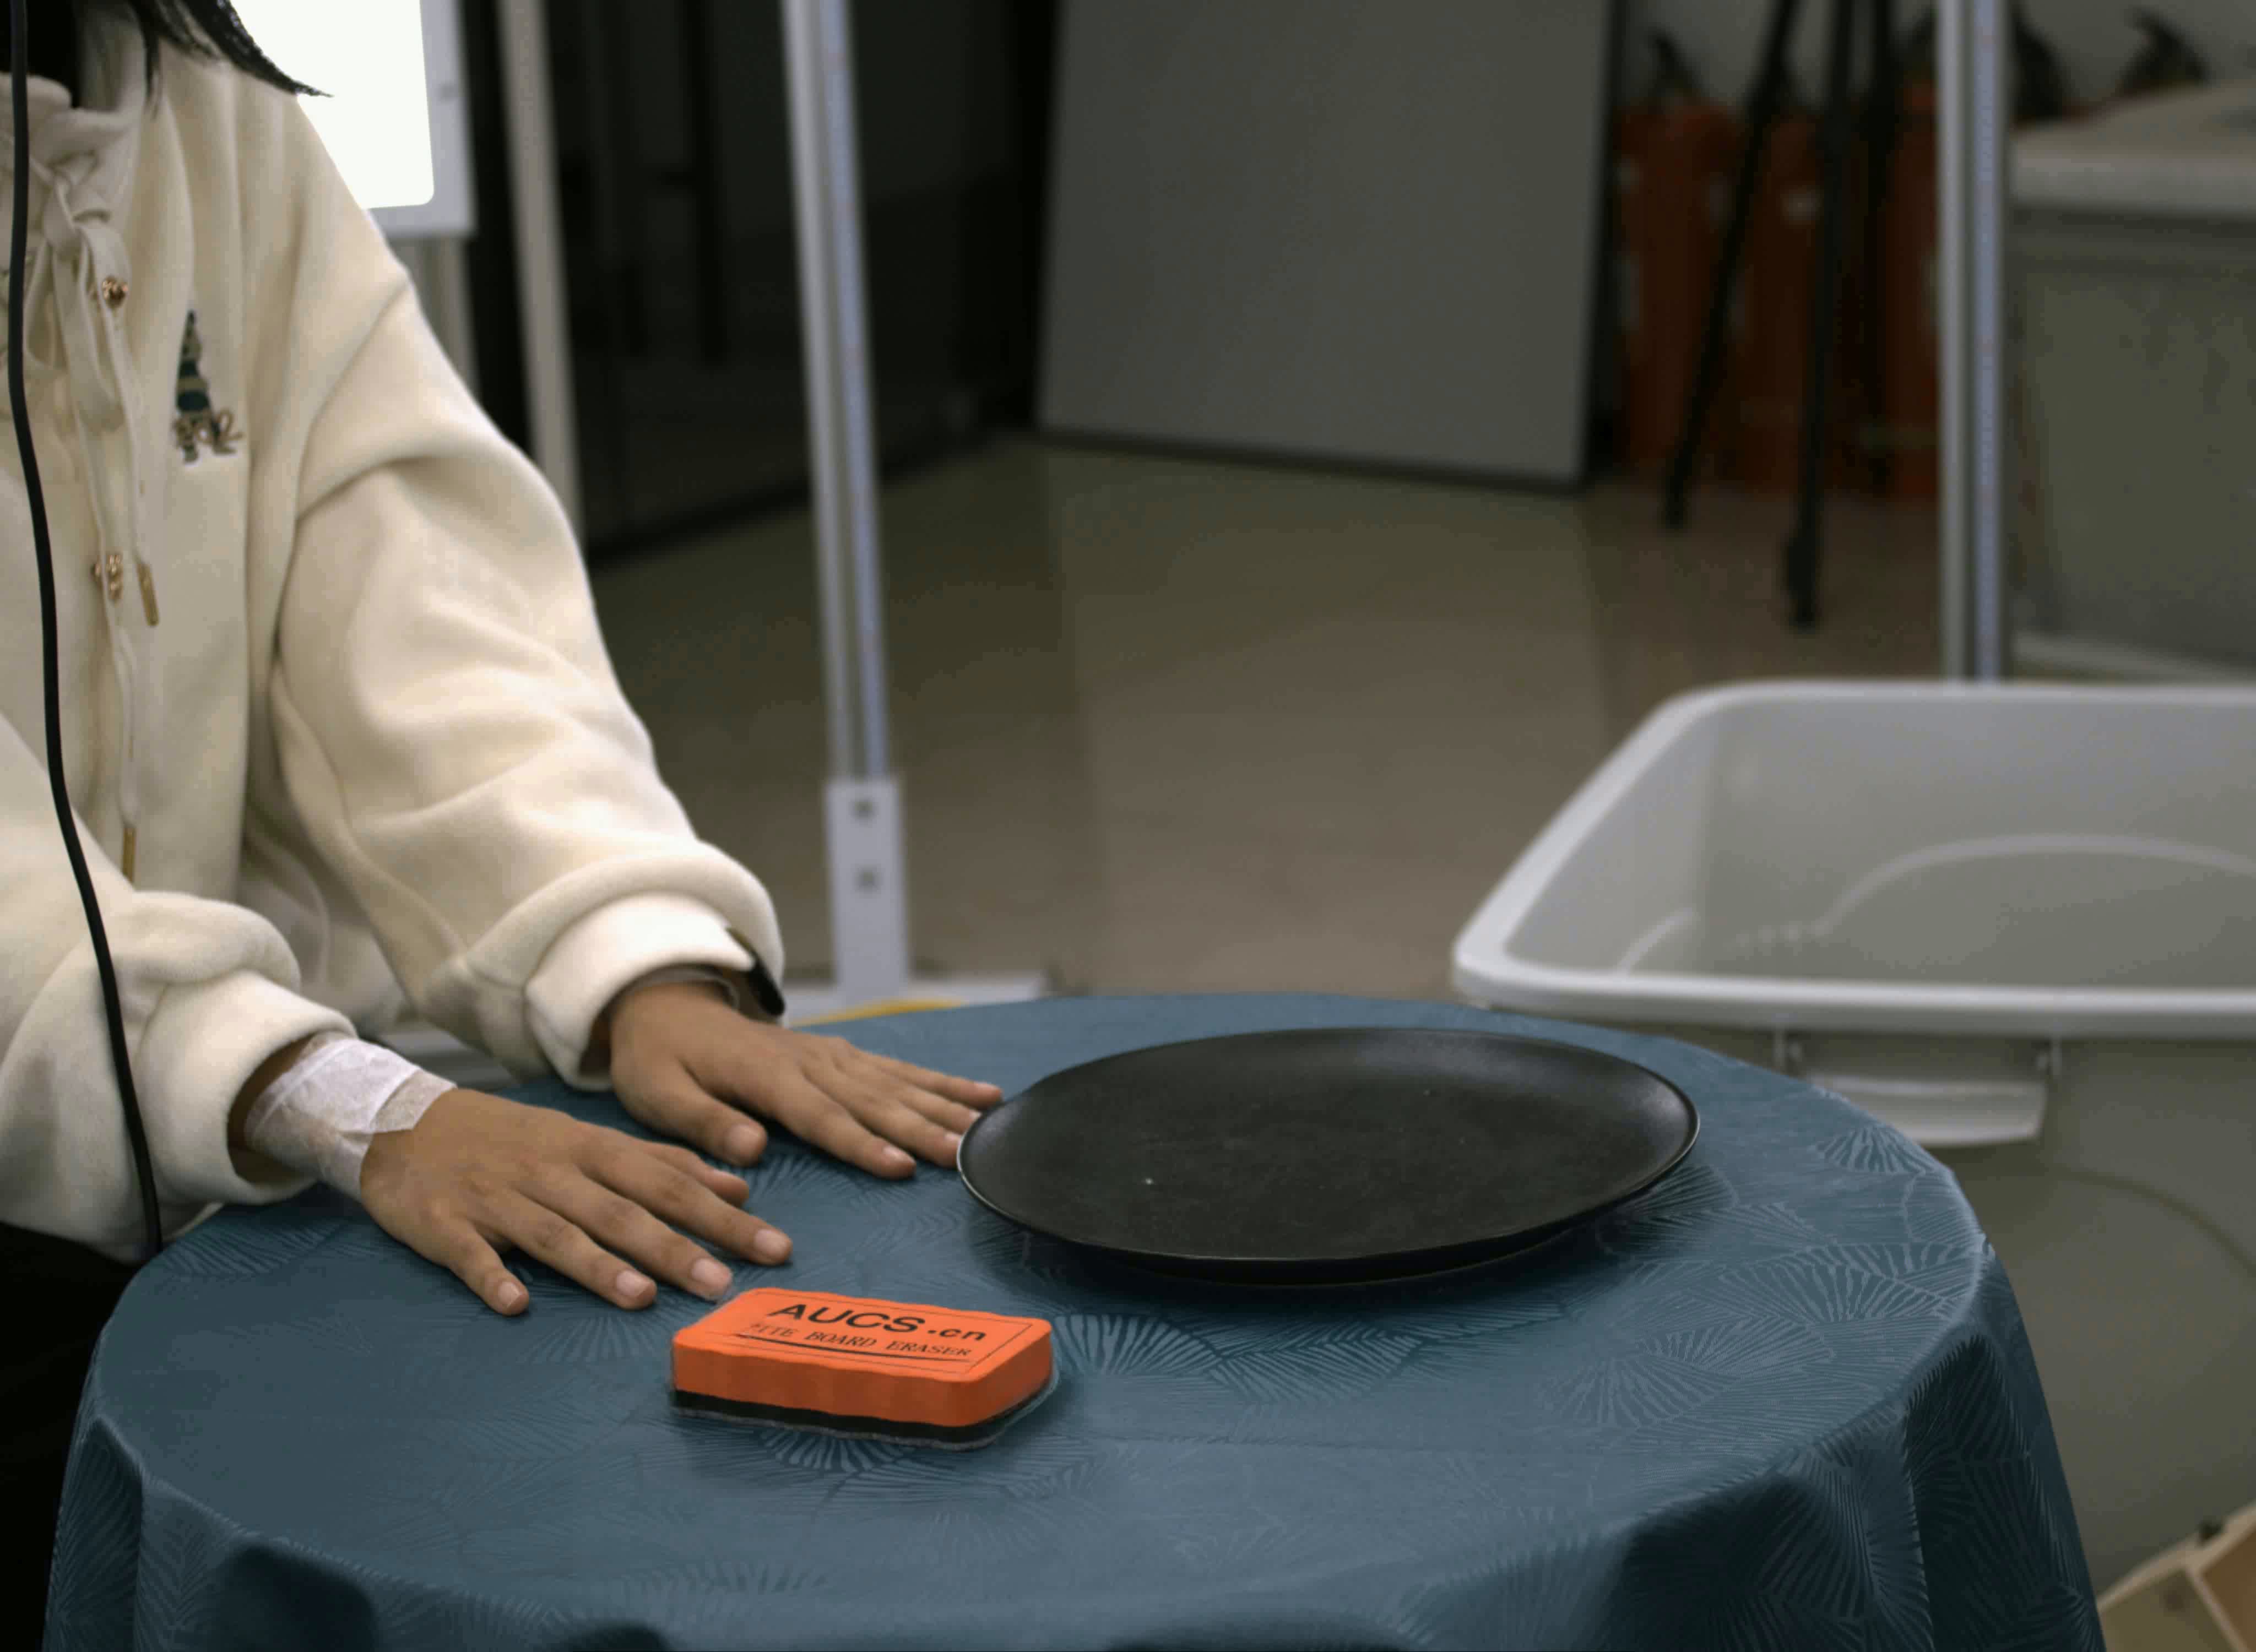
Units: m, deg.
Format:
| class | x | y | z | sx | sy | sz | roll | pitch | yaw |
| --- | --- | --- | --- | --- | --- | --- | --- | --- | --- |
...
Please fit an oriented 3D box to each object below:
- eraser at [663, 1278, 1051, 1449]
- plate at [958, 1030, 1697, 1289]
| class | x | y | z | sx | sy | sz | roll | pitch | yaw |
| --- | --- | --- | --- | --- | --- | --- | --- | --- | --- |
| eraser | -0.079 | 0.157 | 1.586 | 0.108 | 0.023 | 0.058 | 6 | 18 | 27 |
| plate | 0.065 | 0.110 | 1.747 | 0.241 | 0.024 | 0.245 | -4 | 14 | 0 |
